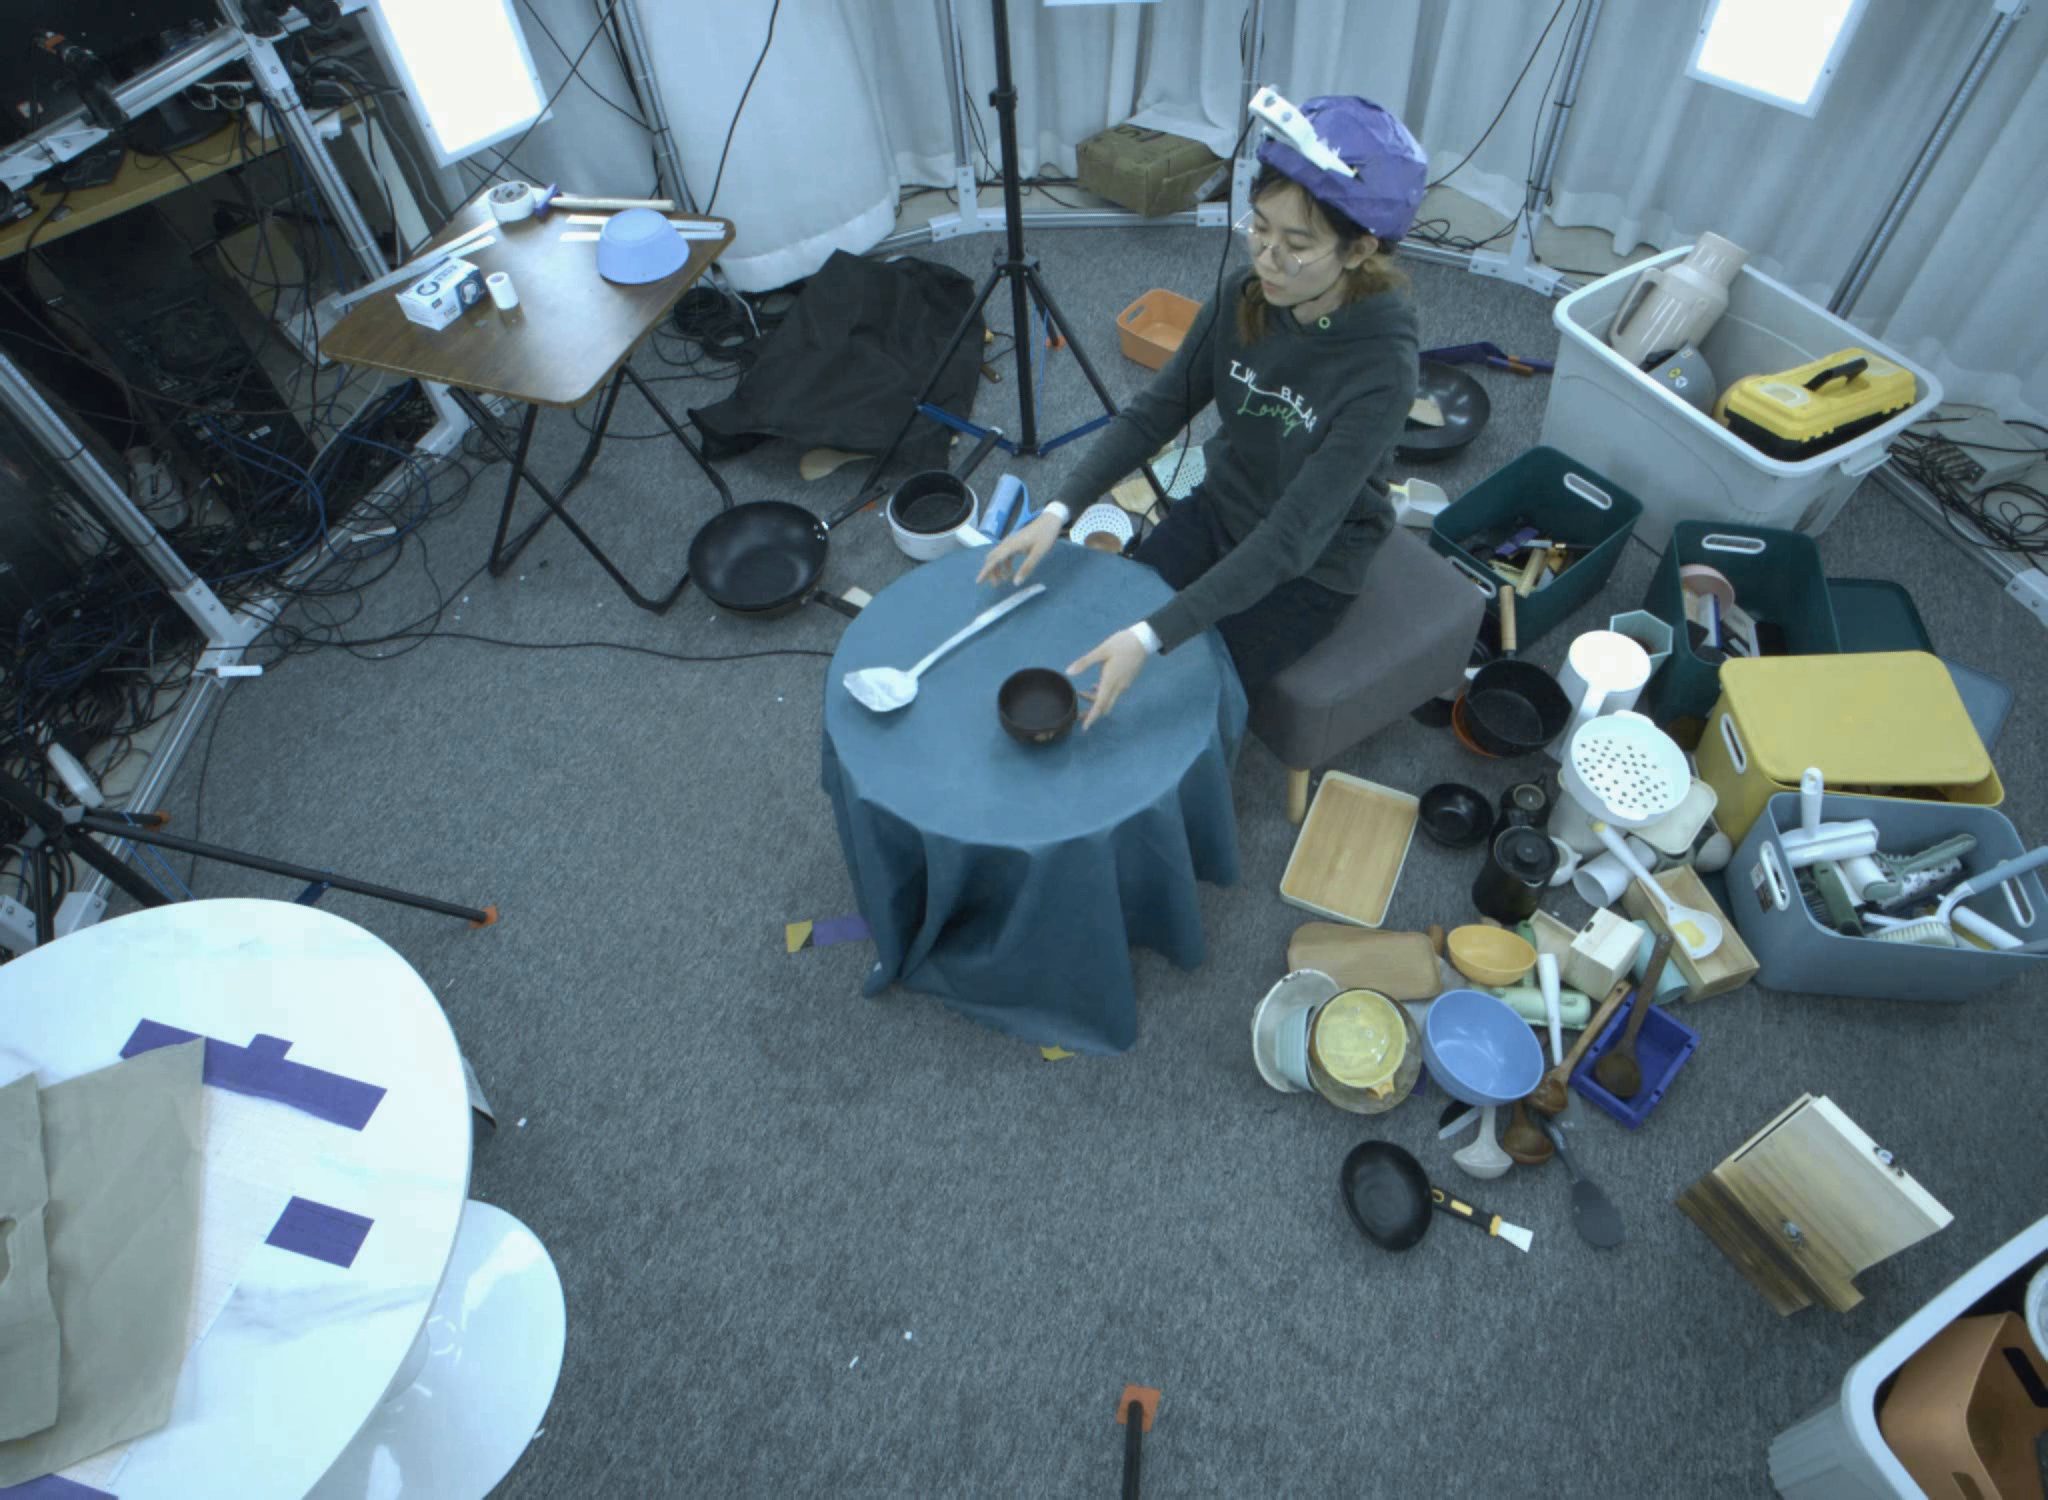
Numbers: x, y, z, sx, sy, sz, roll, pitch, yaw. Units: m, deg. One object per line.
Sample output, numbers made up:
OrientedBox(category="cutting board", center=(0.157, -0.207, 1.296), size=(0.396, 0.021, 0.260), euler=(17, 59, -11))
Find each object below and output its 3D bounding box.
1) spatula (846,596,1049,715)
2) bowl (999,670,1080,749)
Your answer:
OrientedBox(category="spatula", center=(-0.107, -0.160, 1.890), size=(0.367, 0.045, 0.097), euler=(-36, 59, -21))
OrientedBox(category="bowl", center=(0.023, -0.051, 1.789), size=(0.118, 0.070, 0.117), euler=(1, 55, 0))
